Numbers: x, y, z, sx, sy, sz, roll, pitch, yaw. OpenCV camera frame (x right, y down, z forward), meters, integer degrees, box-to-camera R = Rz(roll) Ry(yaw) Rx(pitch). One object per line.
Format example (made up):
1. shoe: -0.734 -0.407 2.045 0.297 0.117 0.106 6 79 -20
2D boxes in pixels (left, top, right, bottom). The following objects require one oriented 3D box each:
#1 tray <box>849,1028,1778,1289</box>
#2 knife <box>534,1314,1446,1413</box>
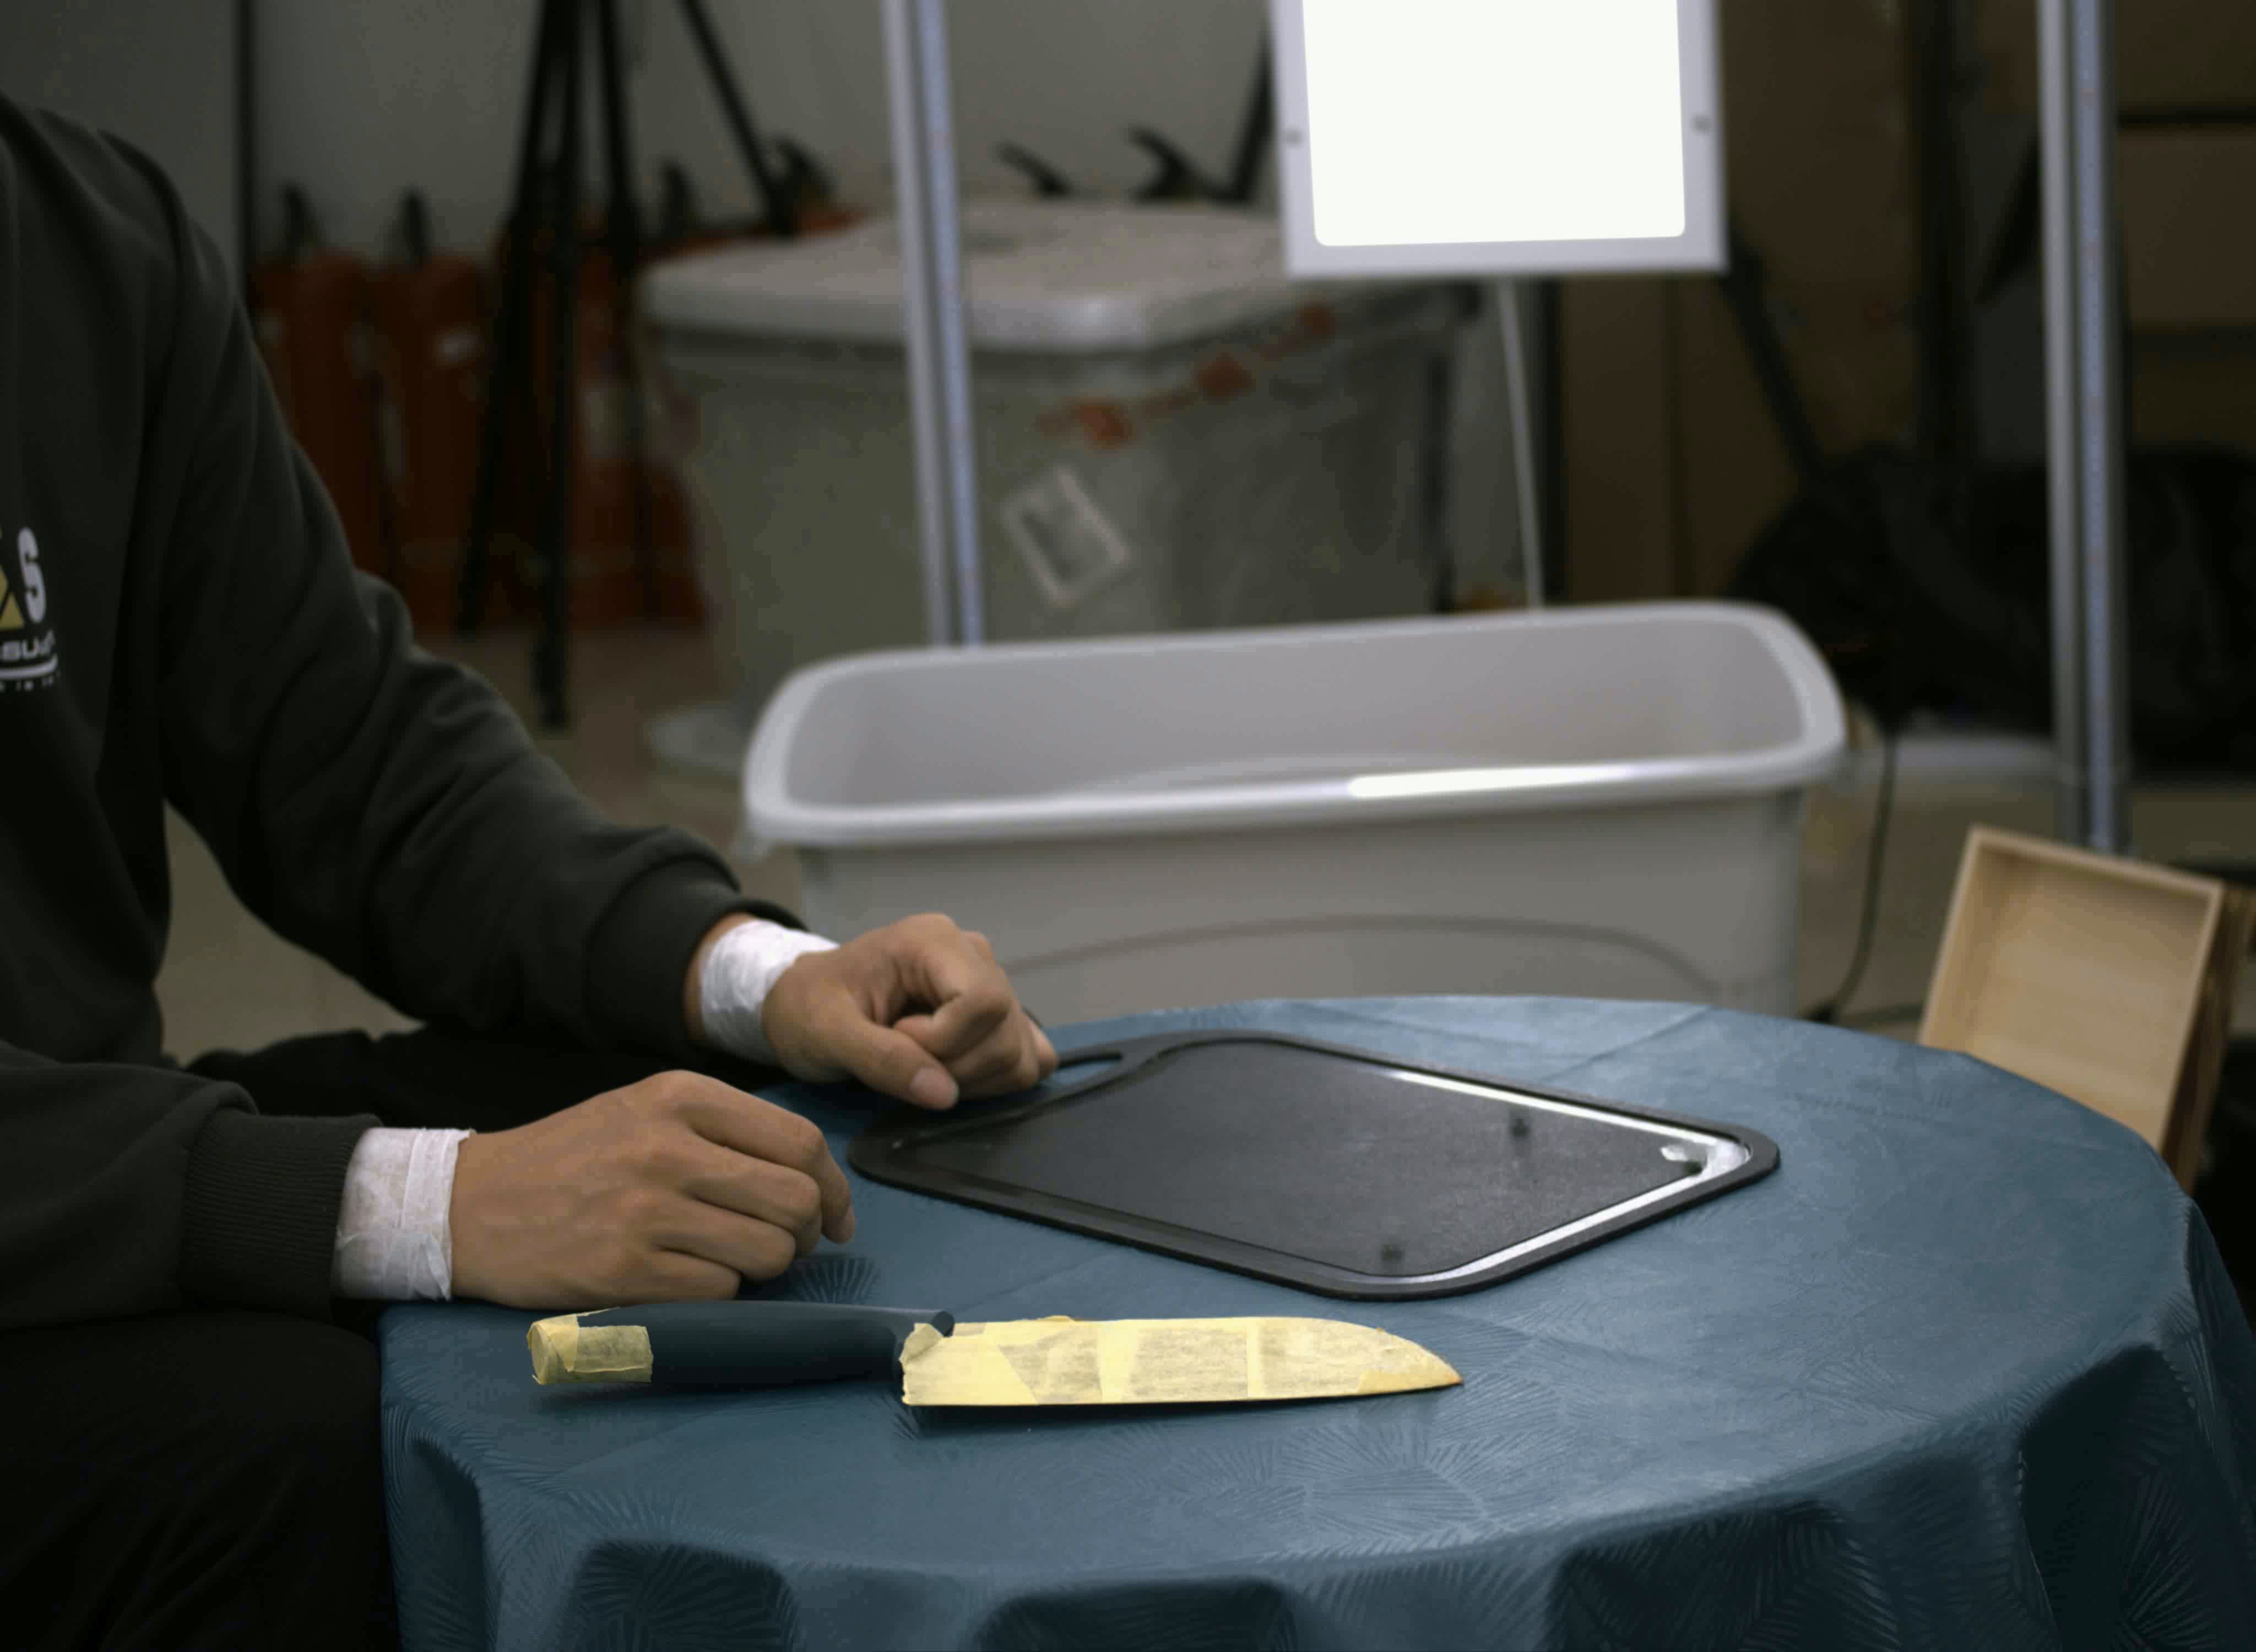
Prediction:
1. tray: 0.055 0.111 1.930 0.206 0.010 0.332 -17 18 -39
2. knife: -0.044 0.169 1.716 0.290 0.027 0.080 -3 13 7
